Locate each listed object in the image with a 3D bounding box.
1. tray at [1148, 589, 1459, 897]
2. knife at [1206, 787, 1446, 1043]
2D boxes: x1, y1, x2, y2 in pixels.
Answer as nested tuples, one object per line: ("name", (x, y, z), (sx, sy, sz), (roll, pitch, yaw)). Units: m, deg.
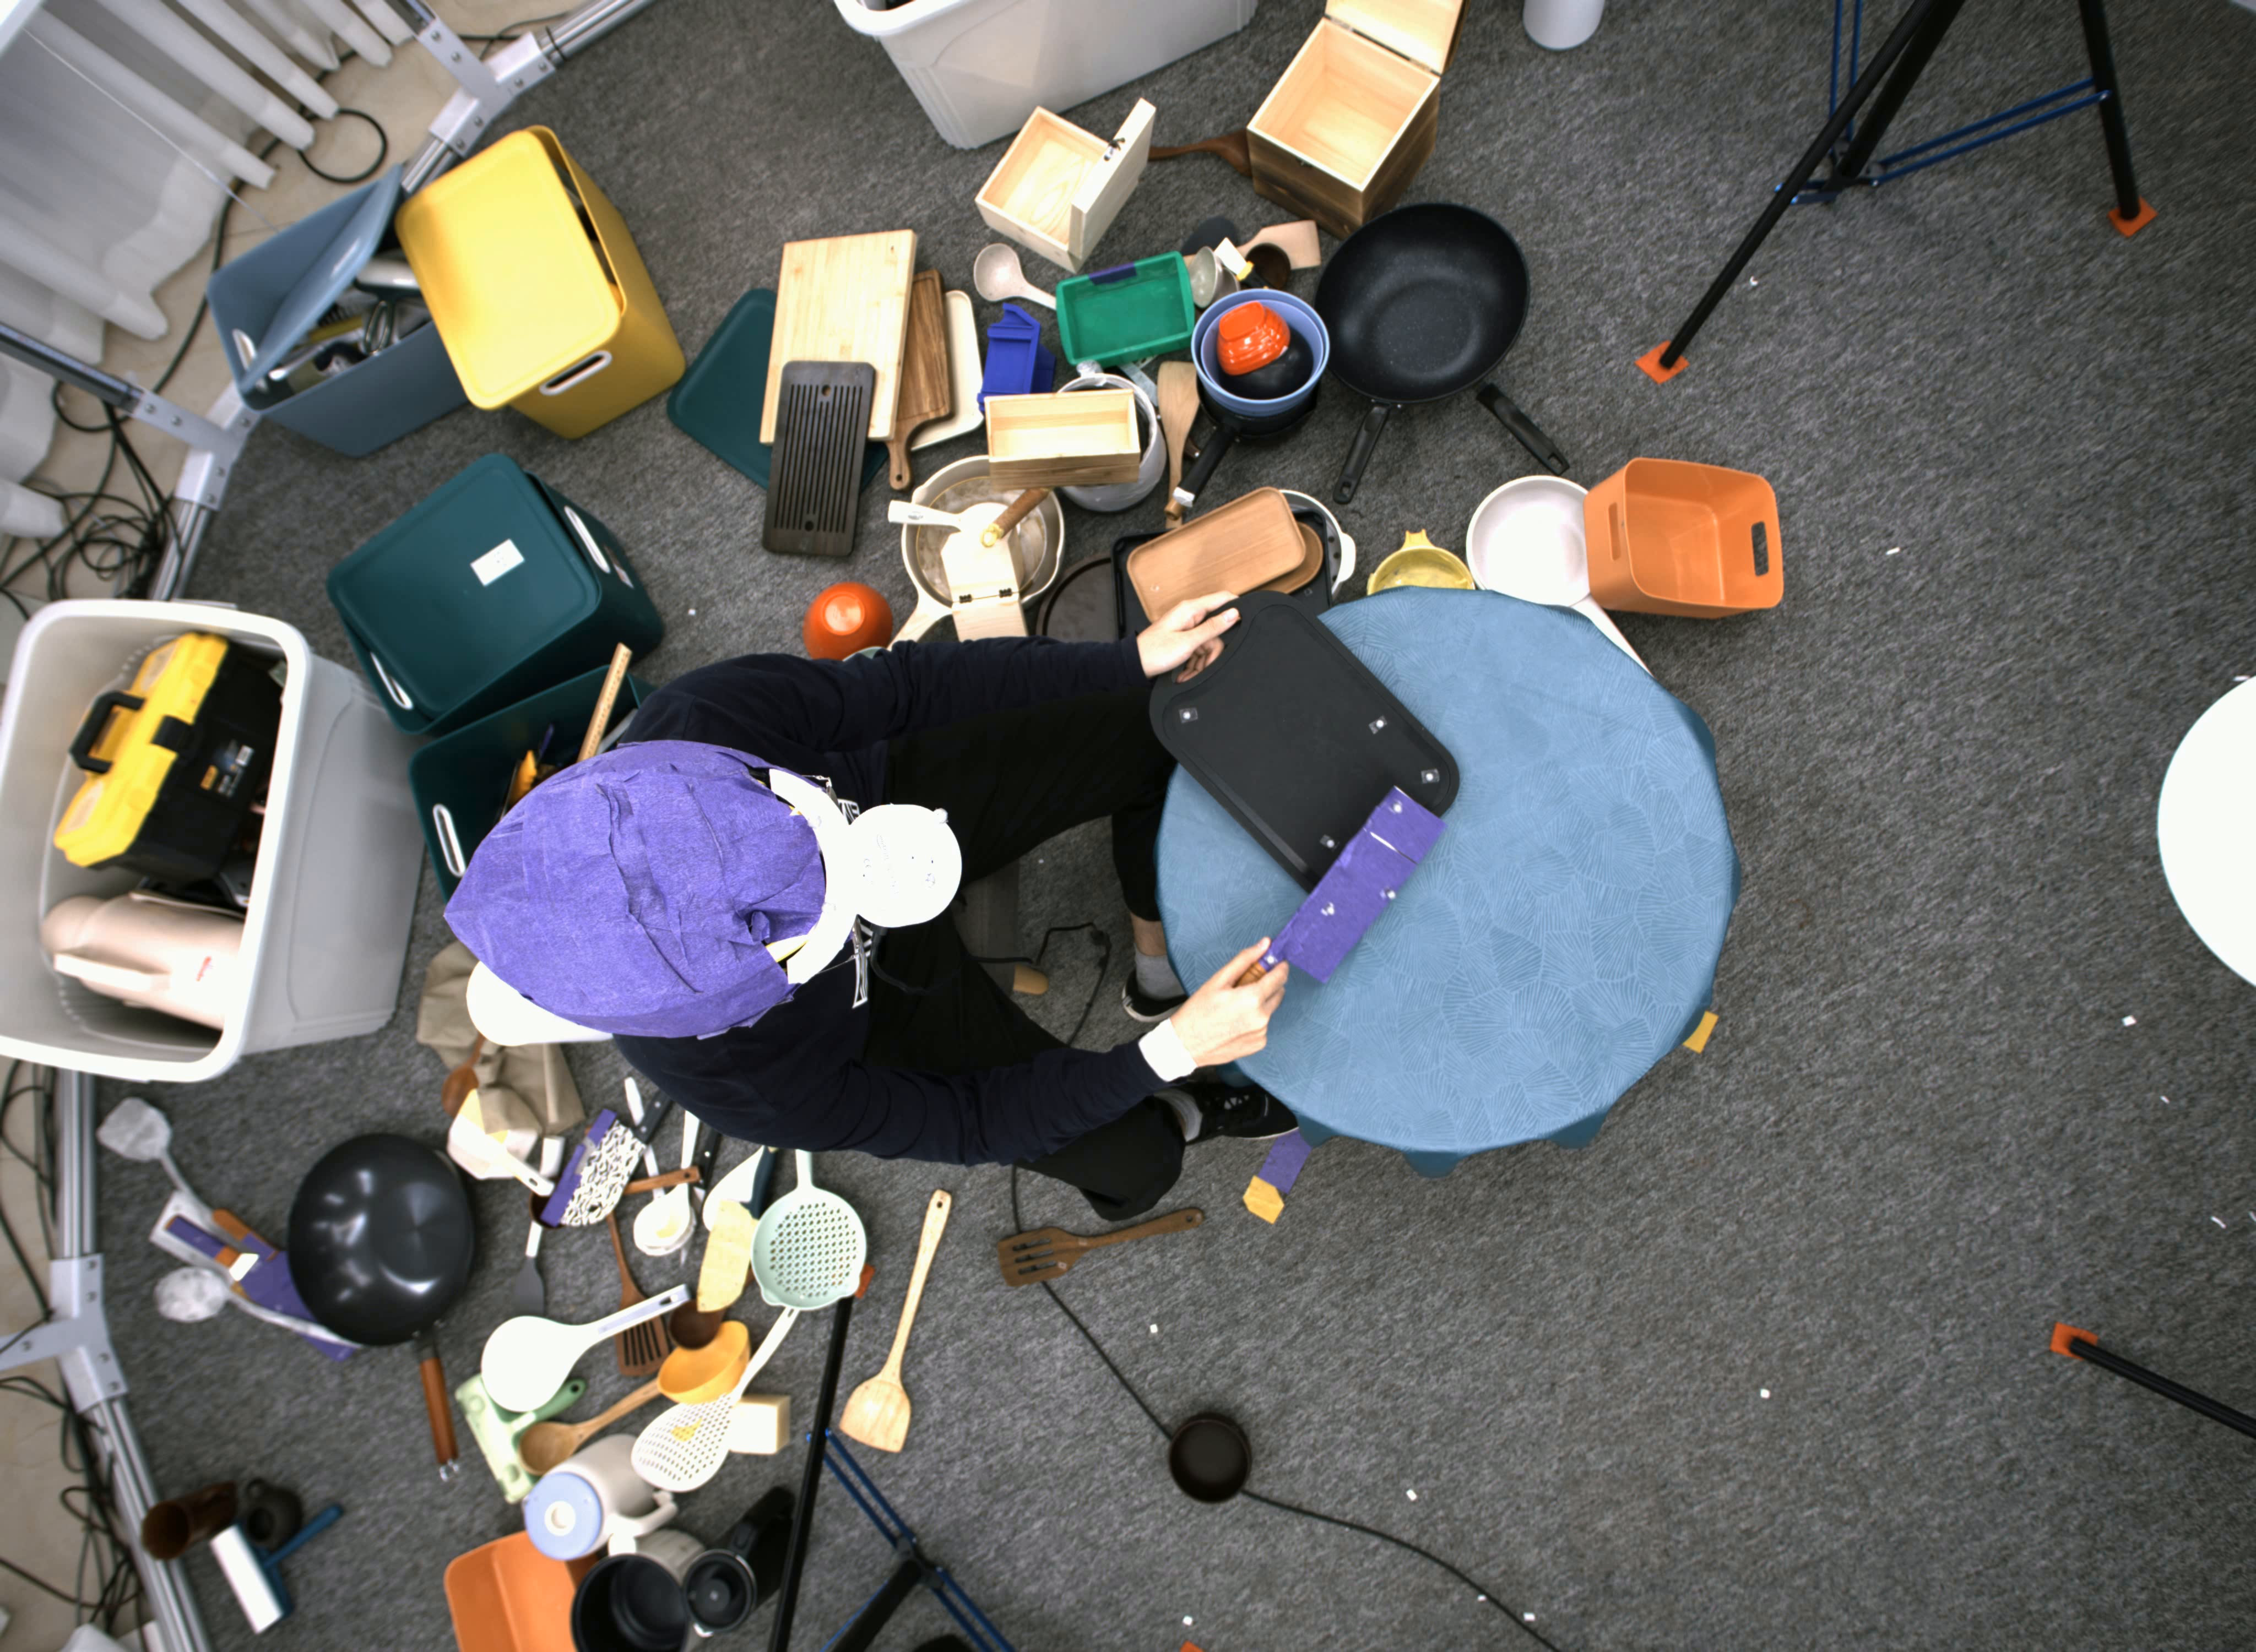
("tray", (0.178, -0.090, 1.448), (0.212, 0.010, 0.325), (-45, 92, 8))
("knife", (0.205, 0.104, 1.400), (0.104, 0.031, 0.318), (30, 105, -32))
